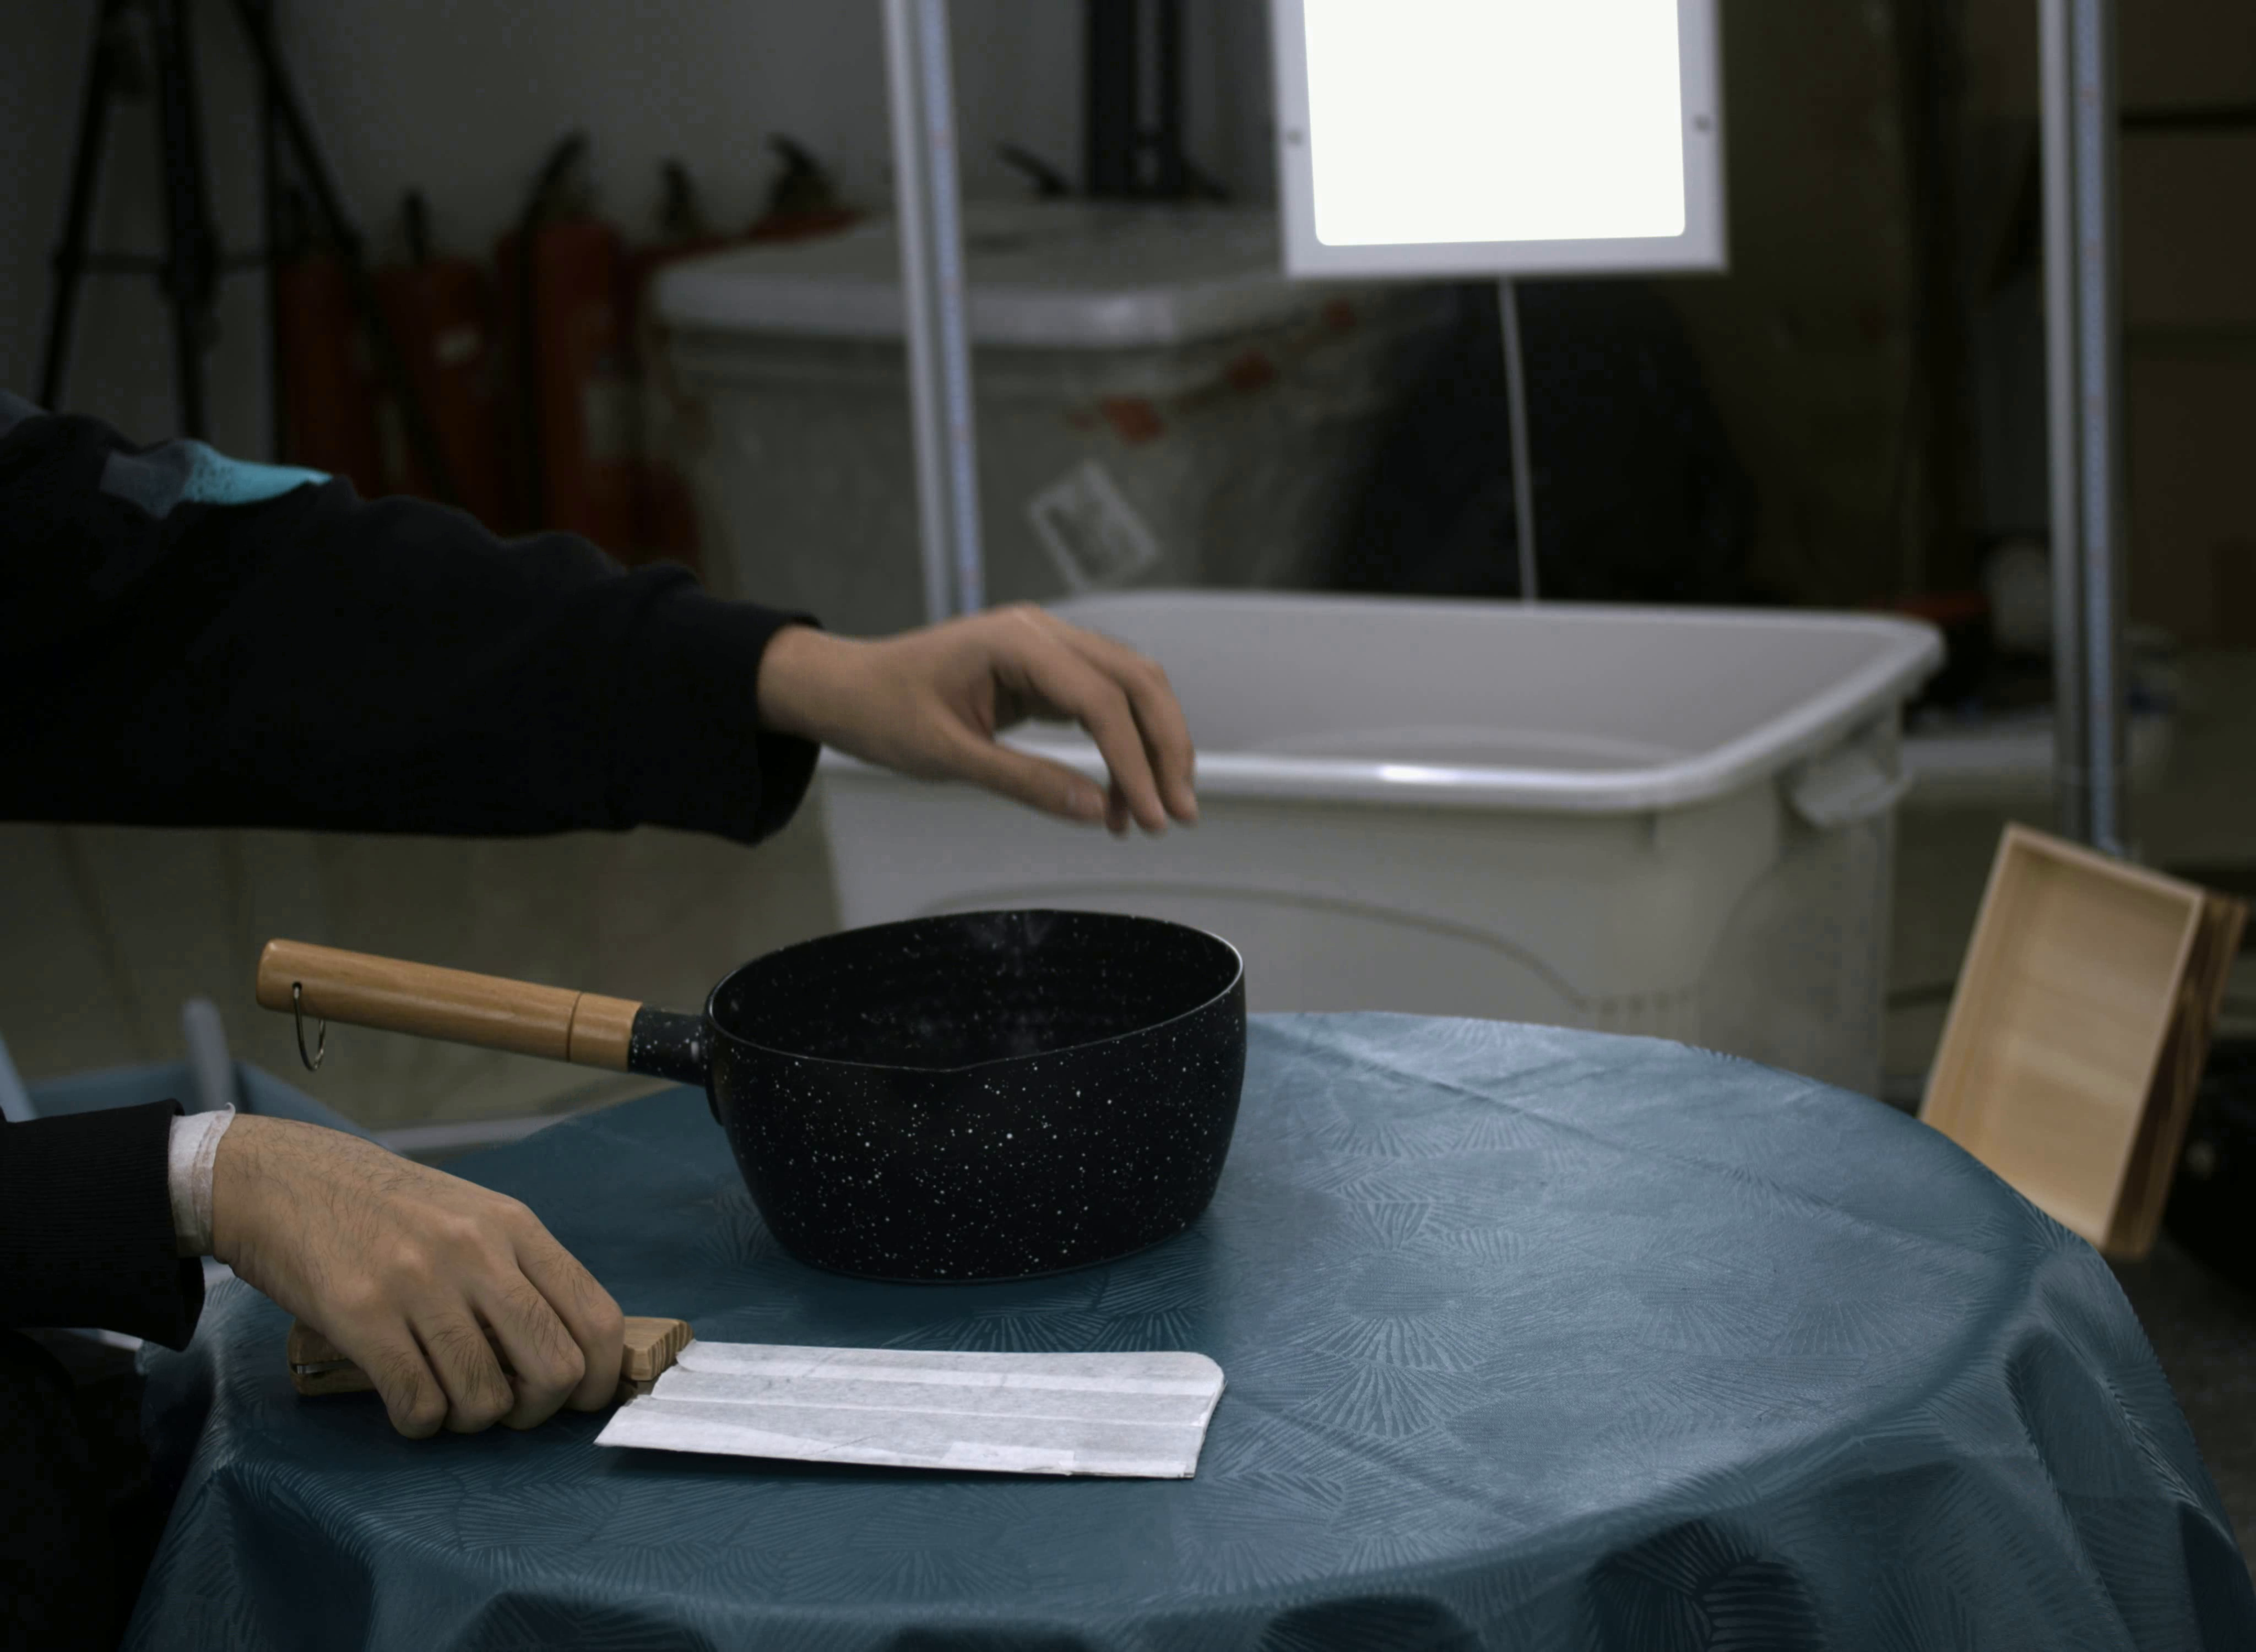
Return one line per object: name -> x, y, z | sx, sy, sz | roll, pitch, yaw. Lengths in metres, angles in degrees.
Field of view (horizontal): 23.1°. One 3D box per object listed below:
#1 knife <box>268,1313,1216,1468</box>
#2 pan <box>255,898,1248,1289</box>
knife -> -0.120, 0.174, 1.711 | 0.319, 0.022, 0.112 | 2, 16, 18
pan -> -0.129, 0.086, 1.881 | 0.344, 0.108, 0.206 | -2, 15, 7
